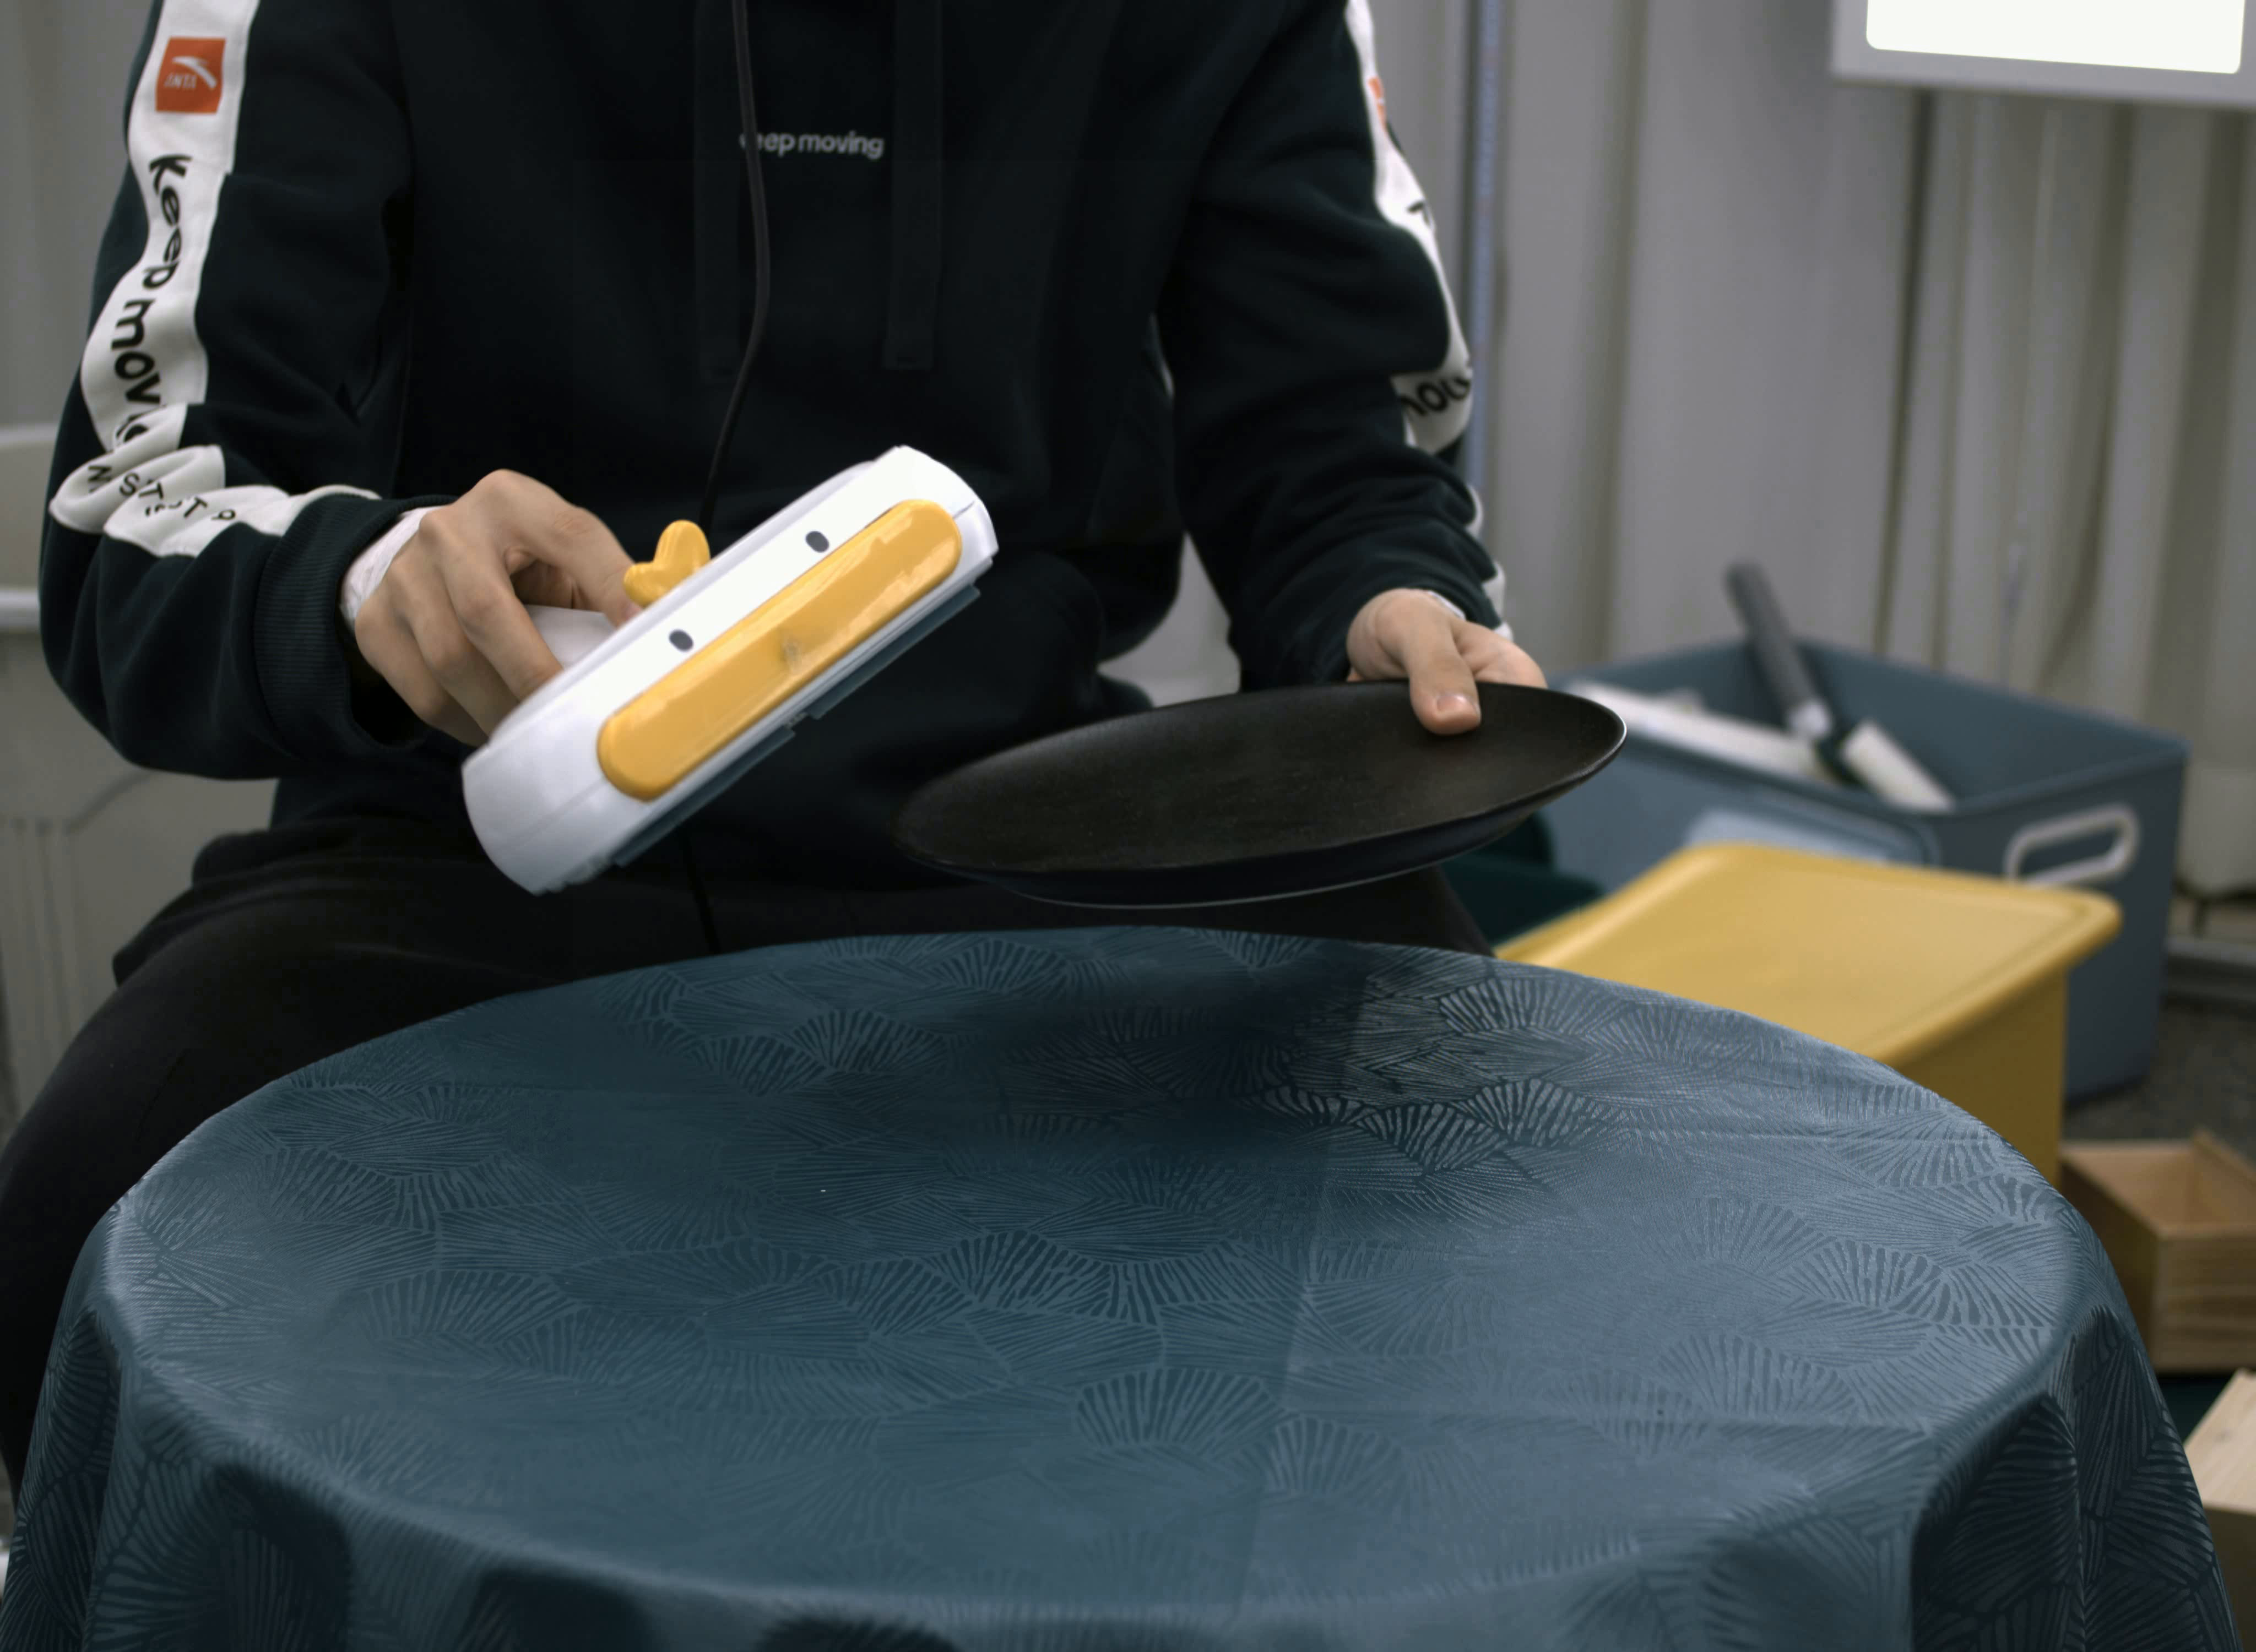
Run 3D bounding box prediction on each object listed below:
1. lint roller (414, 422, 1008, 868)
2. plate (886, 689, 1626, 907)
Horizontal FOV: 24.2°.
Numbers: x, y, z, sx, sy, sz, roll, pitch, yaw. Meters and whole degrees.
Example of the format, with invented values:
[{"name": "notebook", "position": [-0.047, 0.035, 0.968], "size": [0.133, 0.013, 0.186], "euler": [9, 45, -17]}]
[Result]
[{"name": "lint roller", "position": [-0.152, -0.051, 1.618], "size": [0.191, 0.075, 0.193], "euler": [-16, 23, 52]}, {"name": "plate", "position": [0.043, -0.008, 1.718], "size": [0.243, 0.023, 0.243], "euler": [-7, 12, 2]}]
